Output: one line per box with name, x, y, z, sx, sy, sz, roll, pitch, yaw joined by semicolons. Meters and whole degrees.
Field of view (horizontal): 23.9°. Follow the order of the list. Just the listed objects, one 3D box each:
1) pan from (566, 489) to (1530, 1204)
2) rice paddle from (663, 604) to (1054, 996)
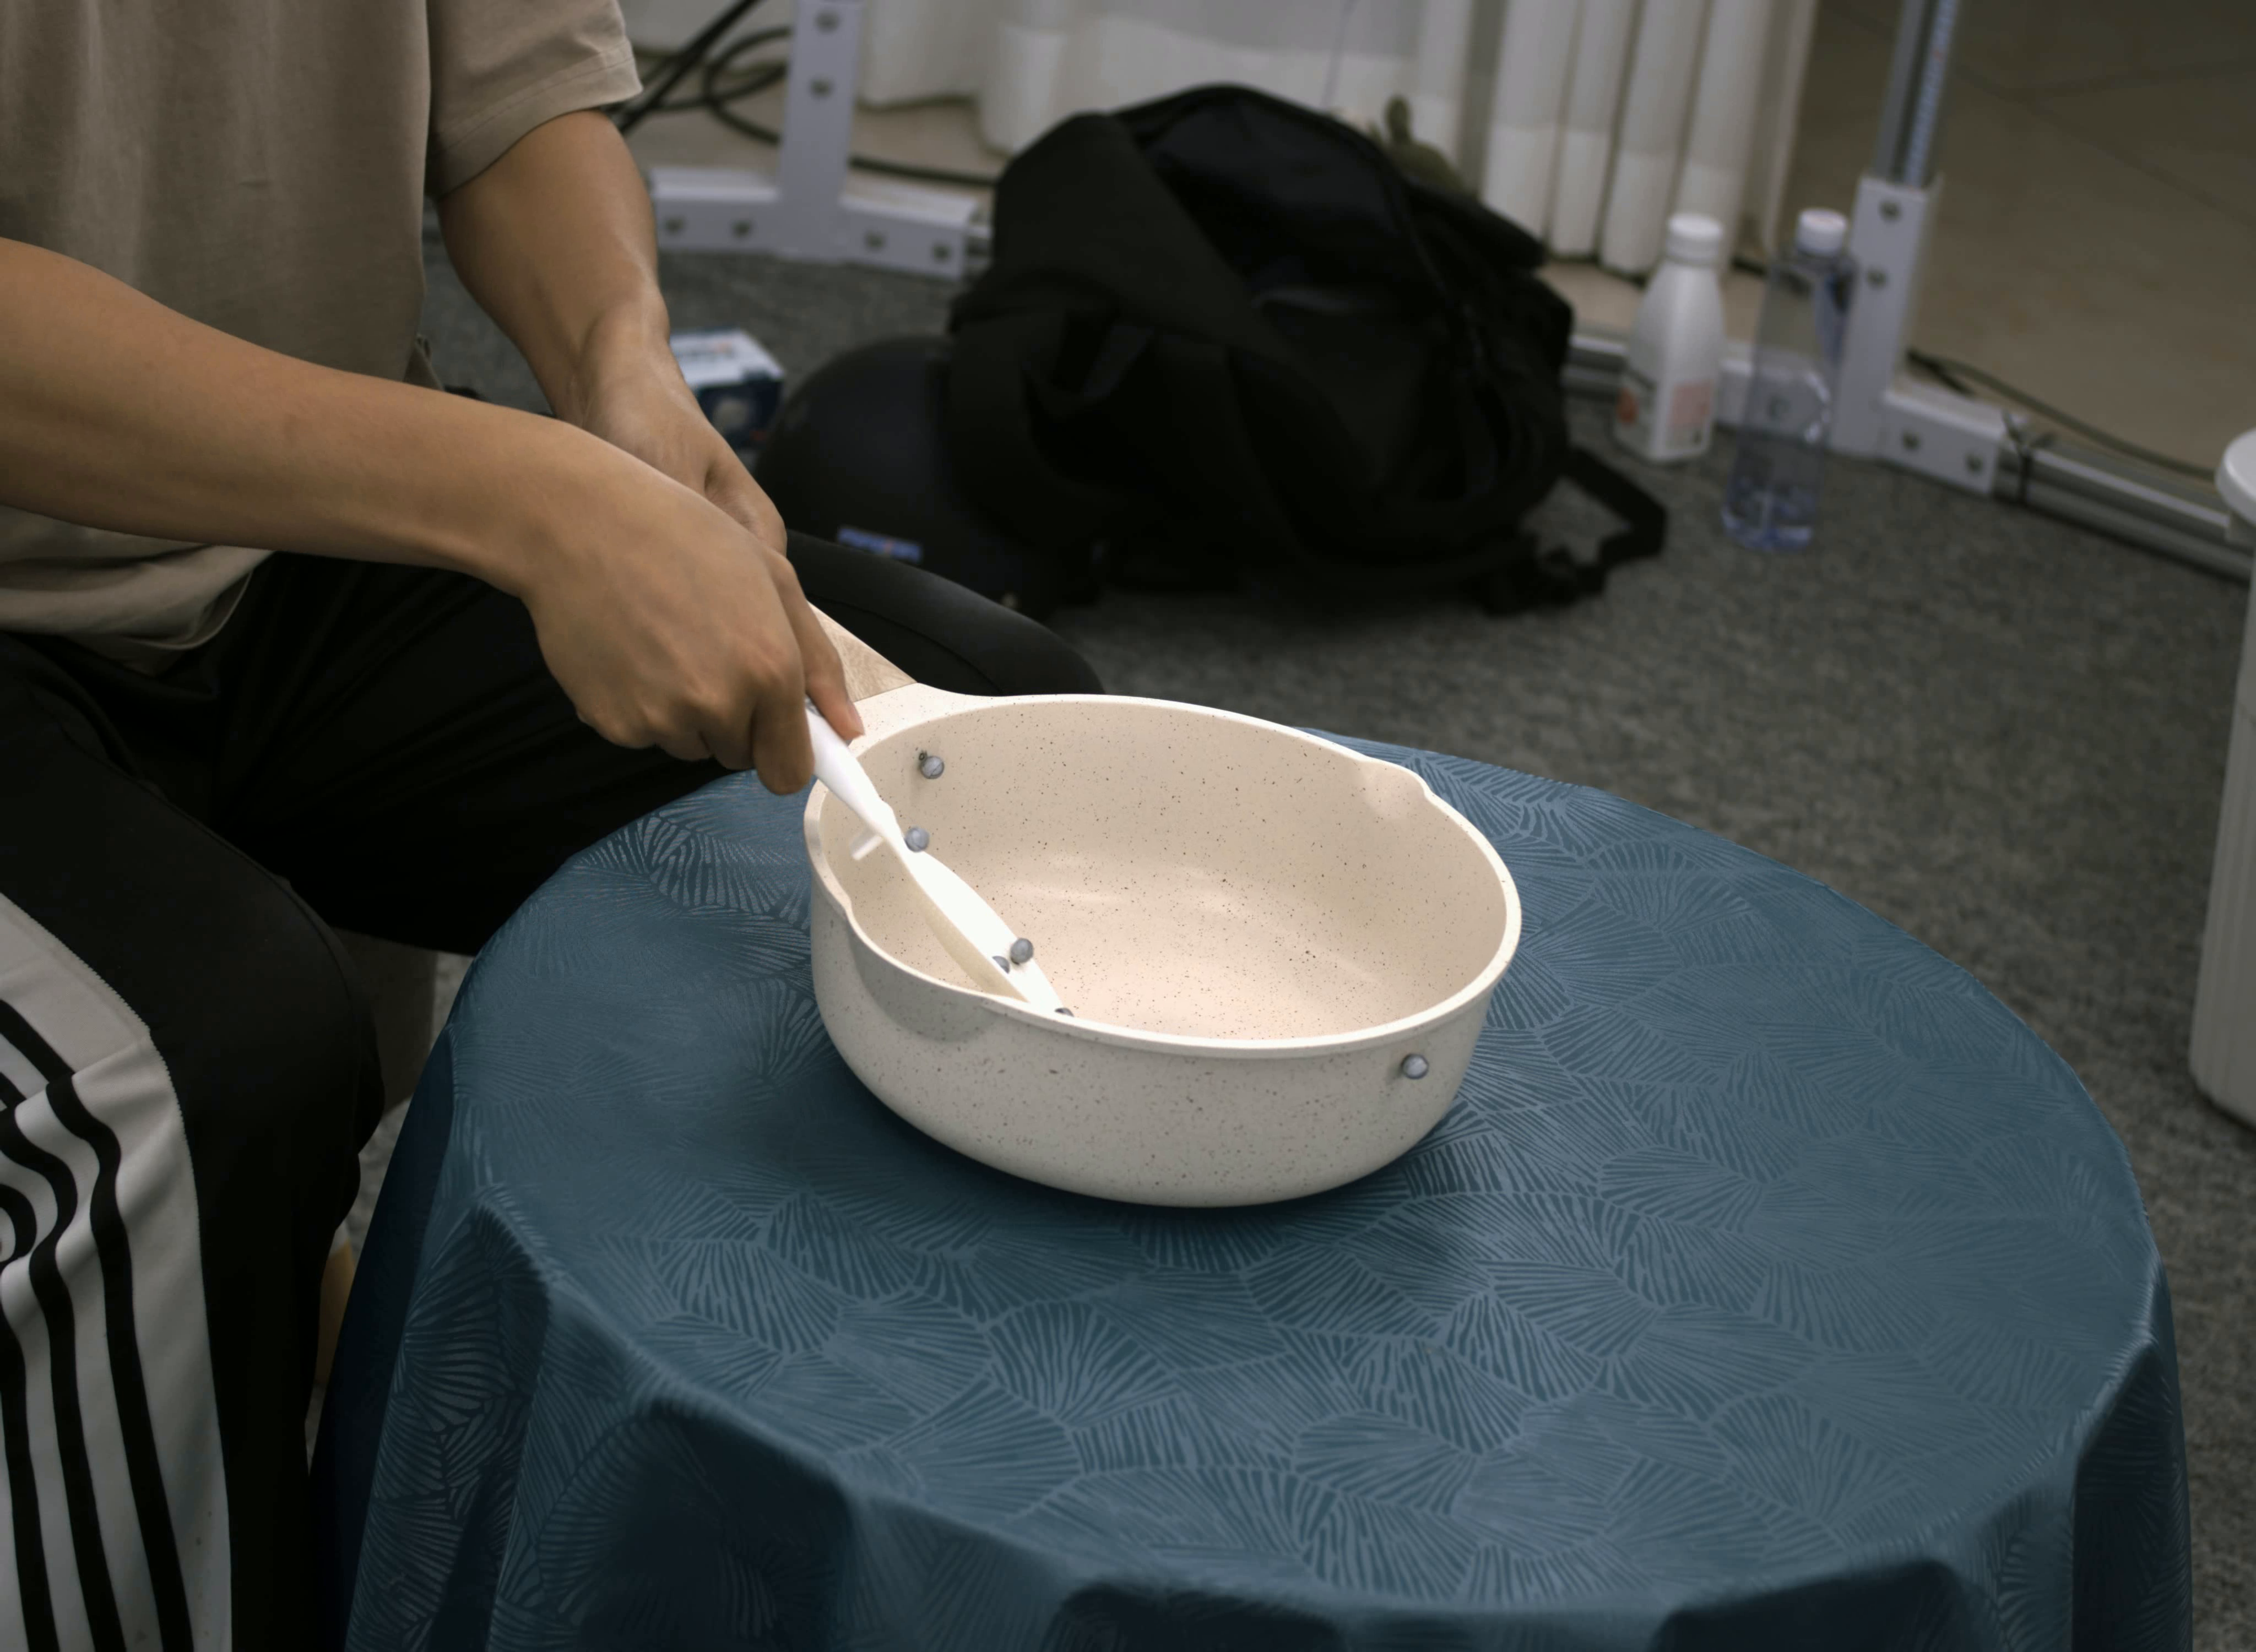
pan;-0.054;0.003;1.916;0.438;0.101;0.262;29;36;35
rice paddle;-0.082;0.001;1.825;0.203;0.029;0.069;46;10;-27
